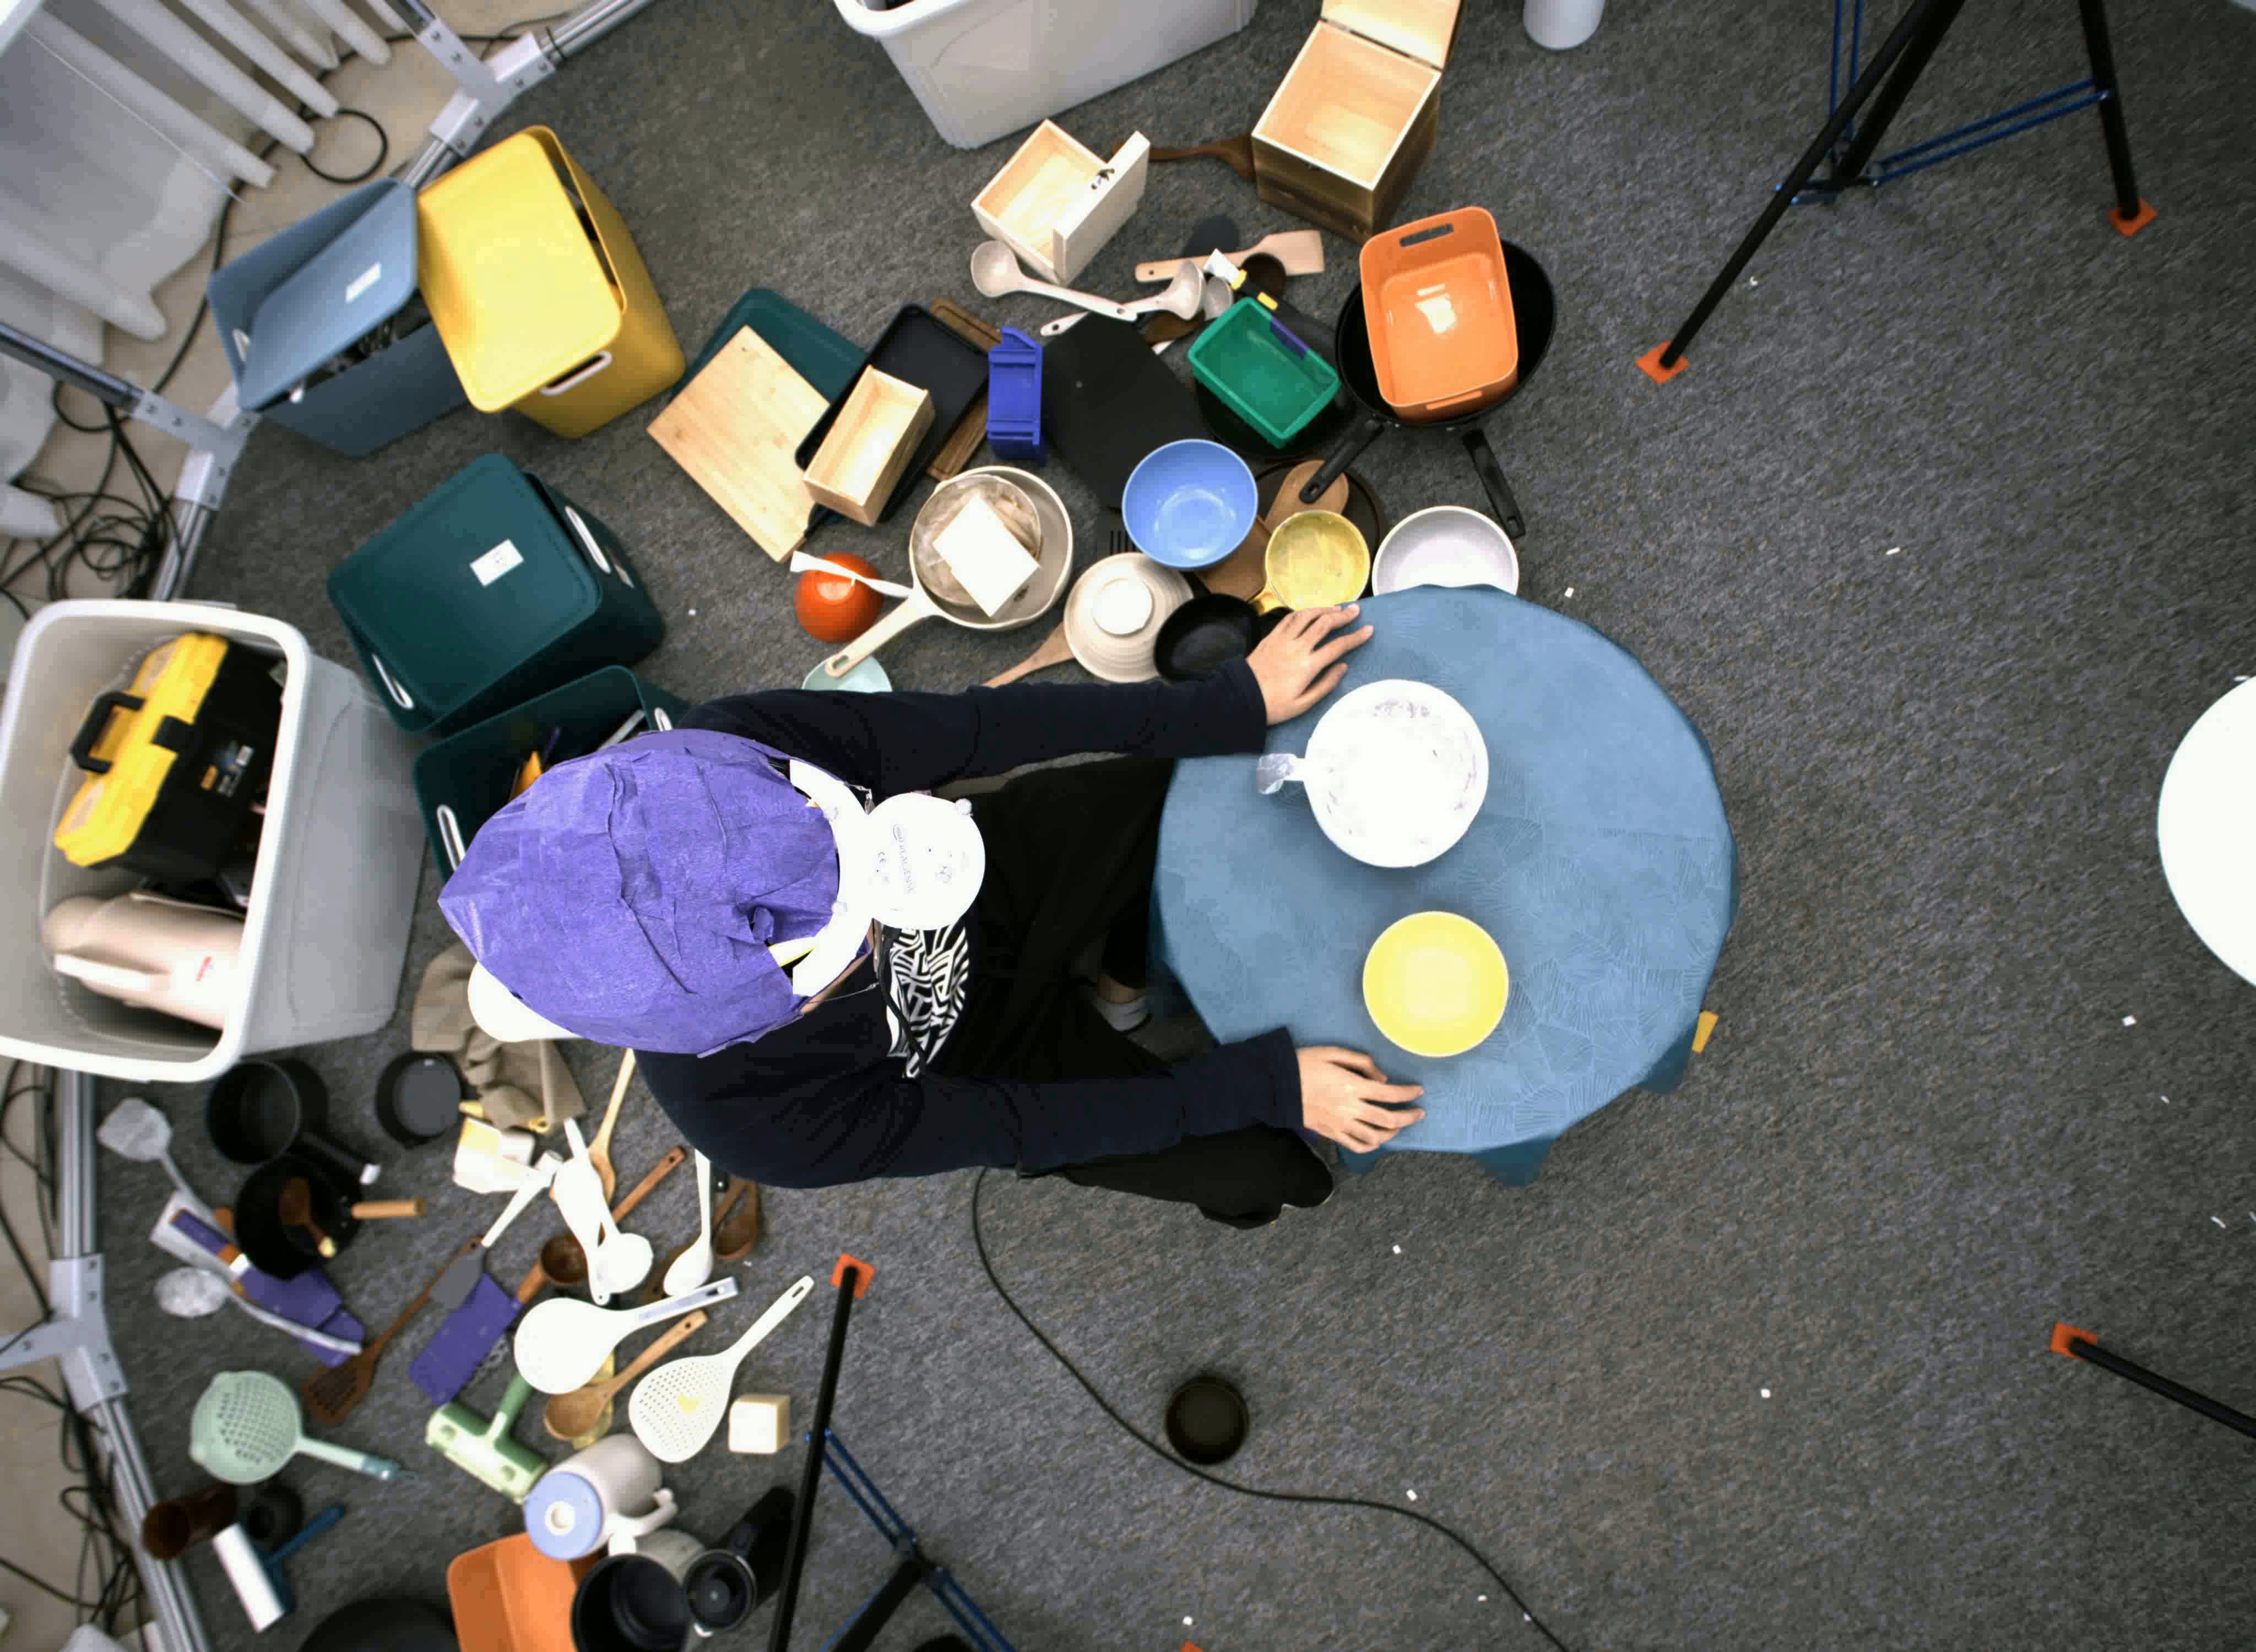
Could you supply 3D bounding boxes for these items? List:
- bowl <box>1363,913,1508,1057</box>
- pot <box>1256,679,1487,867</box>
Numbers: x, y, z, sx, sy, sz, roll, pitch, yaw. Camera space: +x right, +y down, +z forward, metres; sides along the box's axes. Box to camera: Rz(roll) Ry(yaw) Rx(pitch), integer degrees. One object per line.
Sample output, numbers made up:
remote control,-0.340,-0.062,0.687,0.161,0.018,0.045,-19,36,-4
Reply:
bowl,0.313,0.161,1.415,0.146,0.060,0.144,-1,85,9
pot,0.244,-0.051,1.405,0.234,0.136,0.178,2,86,12
